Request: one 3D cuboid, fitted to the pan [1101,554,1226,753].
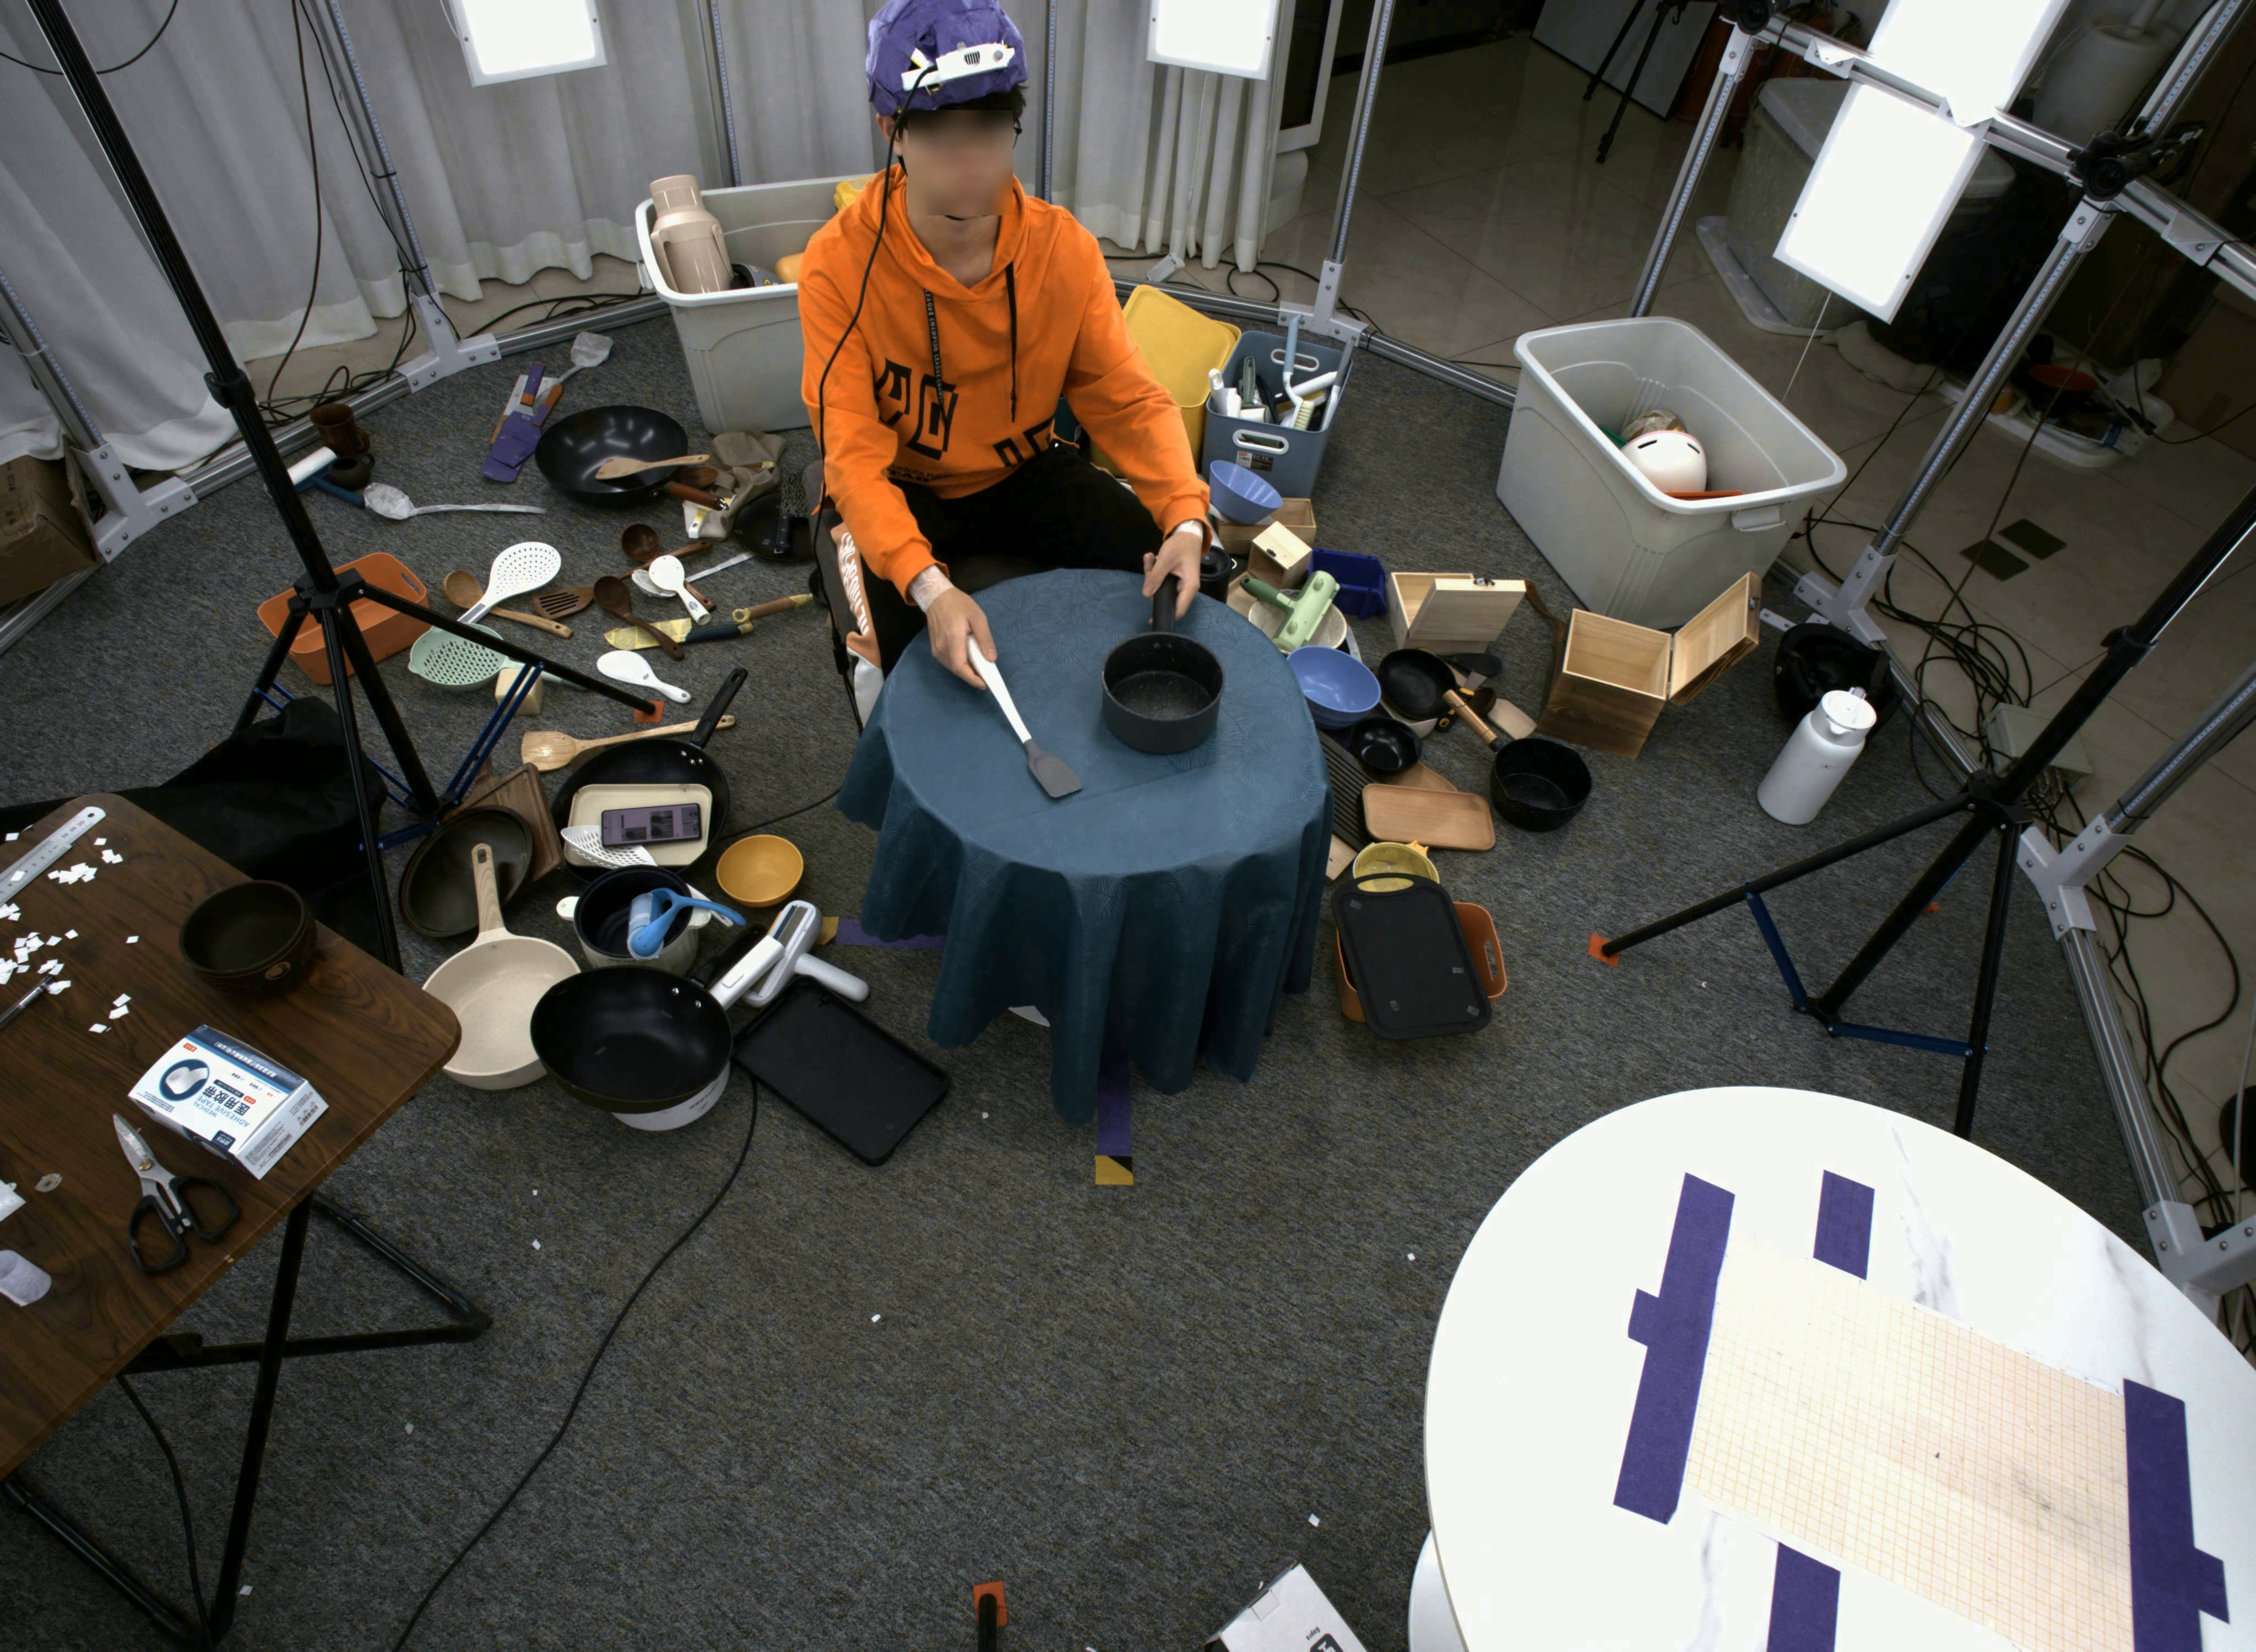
[{"bbox_3d":[0.052,-0.249,1.830,0.172,0.084,0.336,5,52,0],"label":"pan"}]

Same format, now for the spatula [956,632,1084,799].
[{"bbox_3d":[-0.153,-0.149,1.752,0.059,0.031,0.292,-17,63,-34],"label":"spatula"}]
